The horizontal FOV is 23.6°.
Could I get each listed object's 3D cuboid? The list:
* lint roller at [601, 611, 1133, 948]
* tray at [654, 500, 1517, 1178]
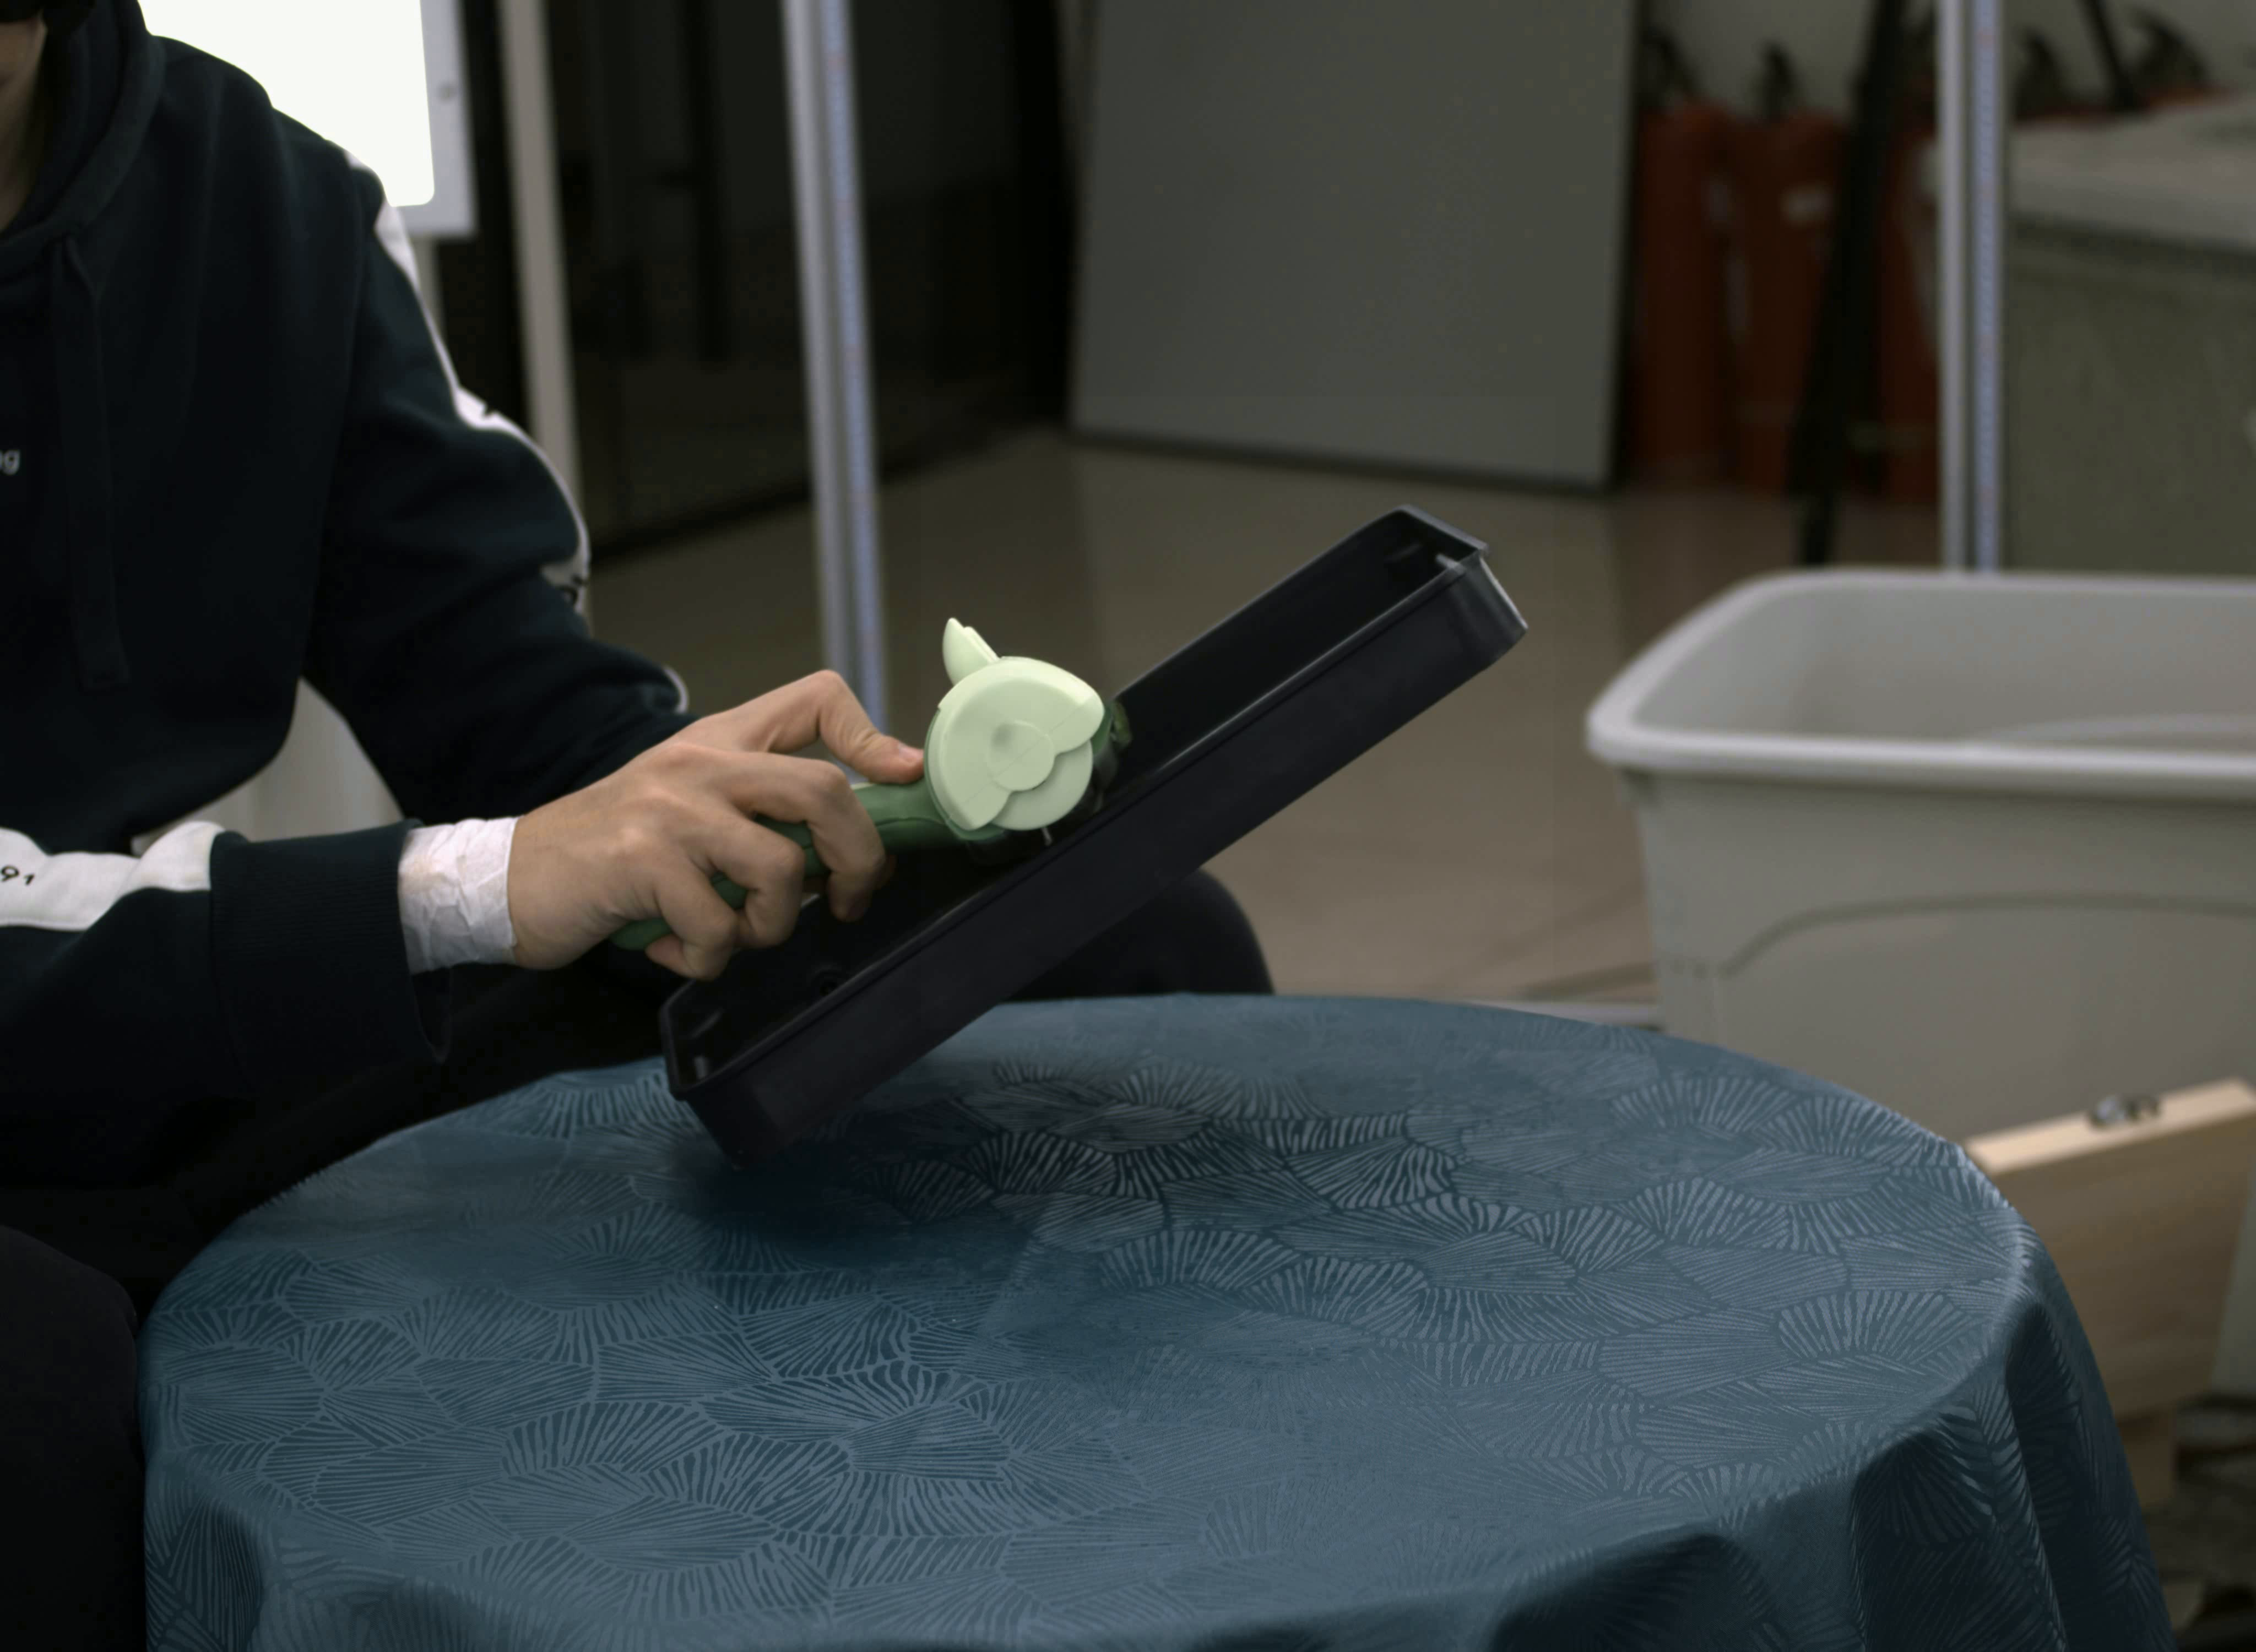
[{"bbox_3d":[-0.089,-0.017,1.760,0.181,0.083,0.198,-11,-3,2],"label":"lint roller"},{"bbox_3d":[-0.018,0.000,1.797,0.316,0.037,0.185,-35,9,0],"label":"tray"}]
